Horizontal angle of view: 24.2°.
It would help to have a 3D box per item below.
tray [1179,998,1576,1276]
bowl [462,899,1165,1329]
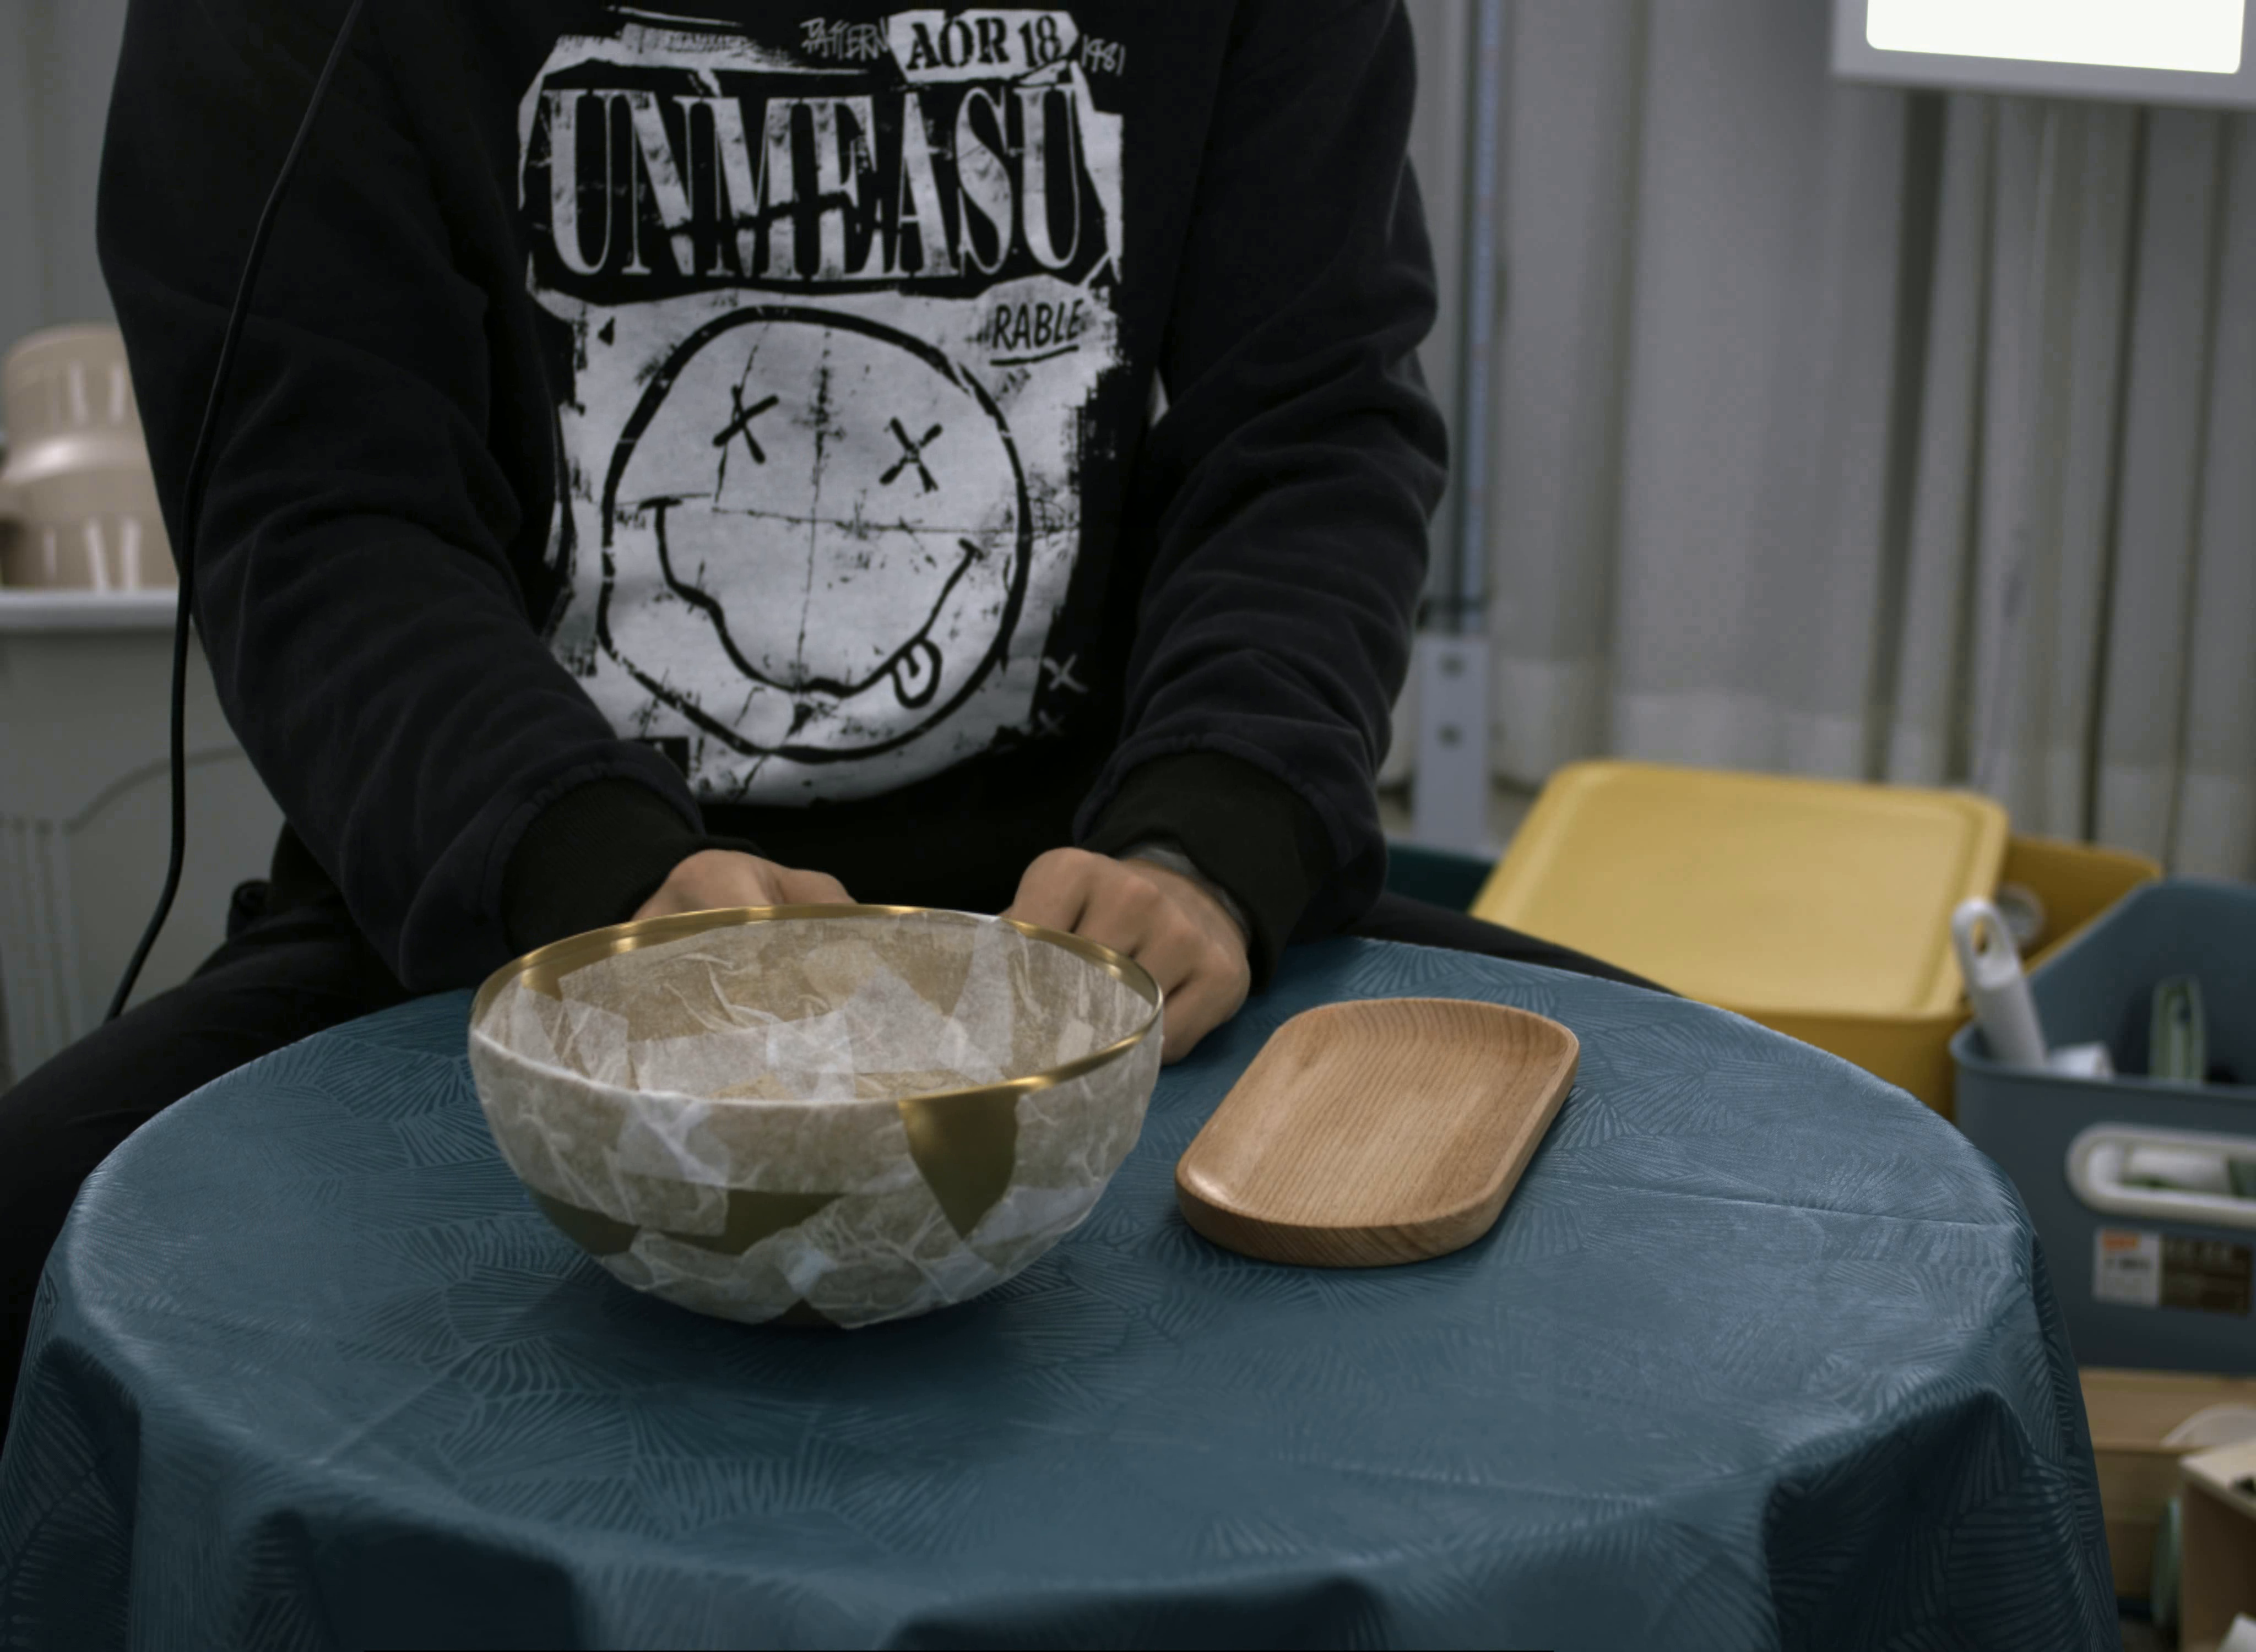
[{"bbox_3d":[0.081,0.096,1.661,0.101,0.020,0.231,2,17,13],"label":"tray"},{"bbox_3d":[-0.086,0.091,1.528,0.214,0.095,0.213,-1,15,1],"label":"bowl"}]
